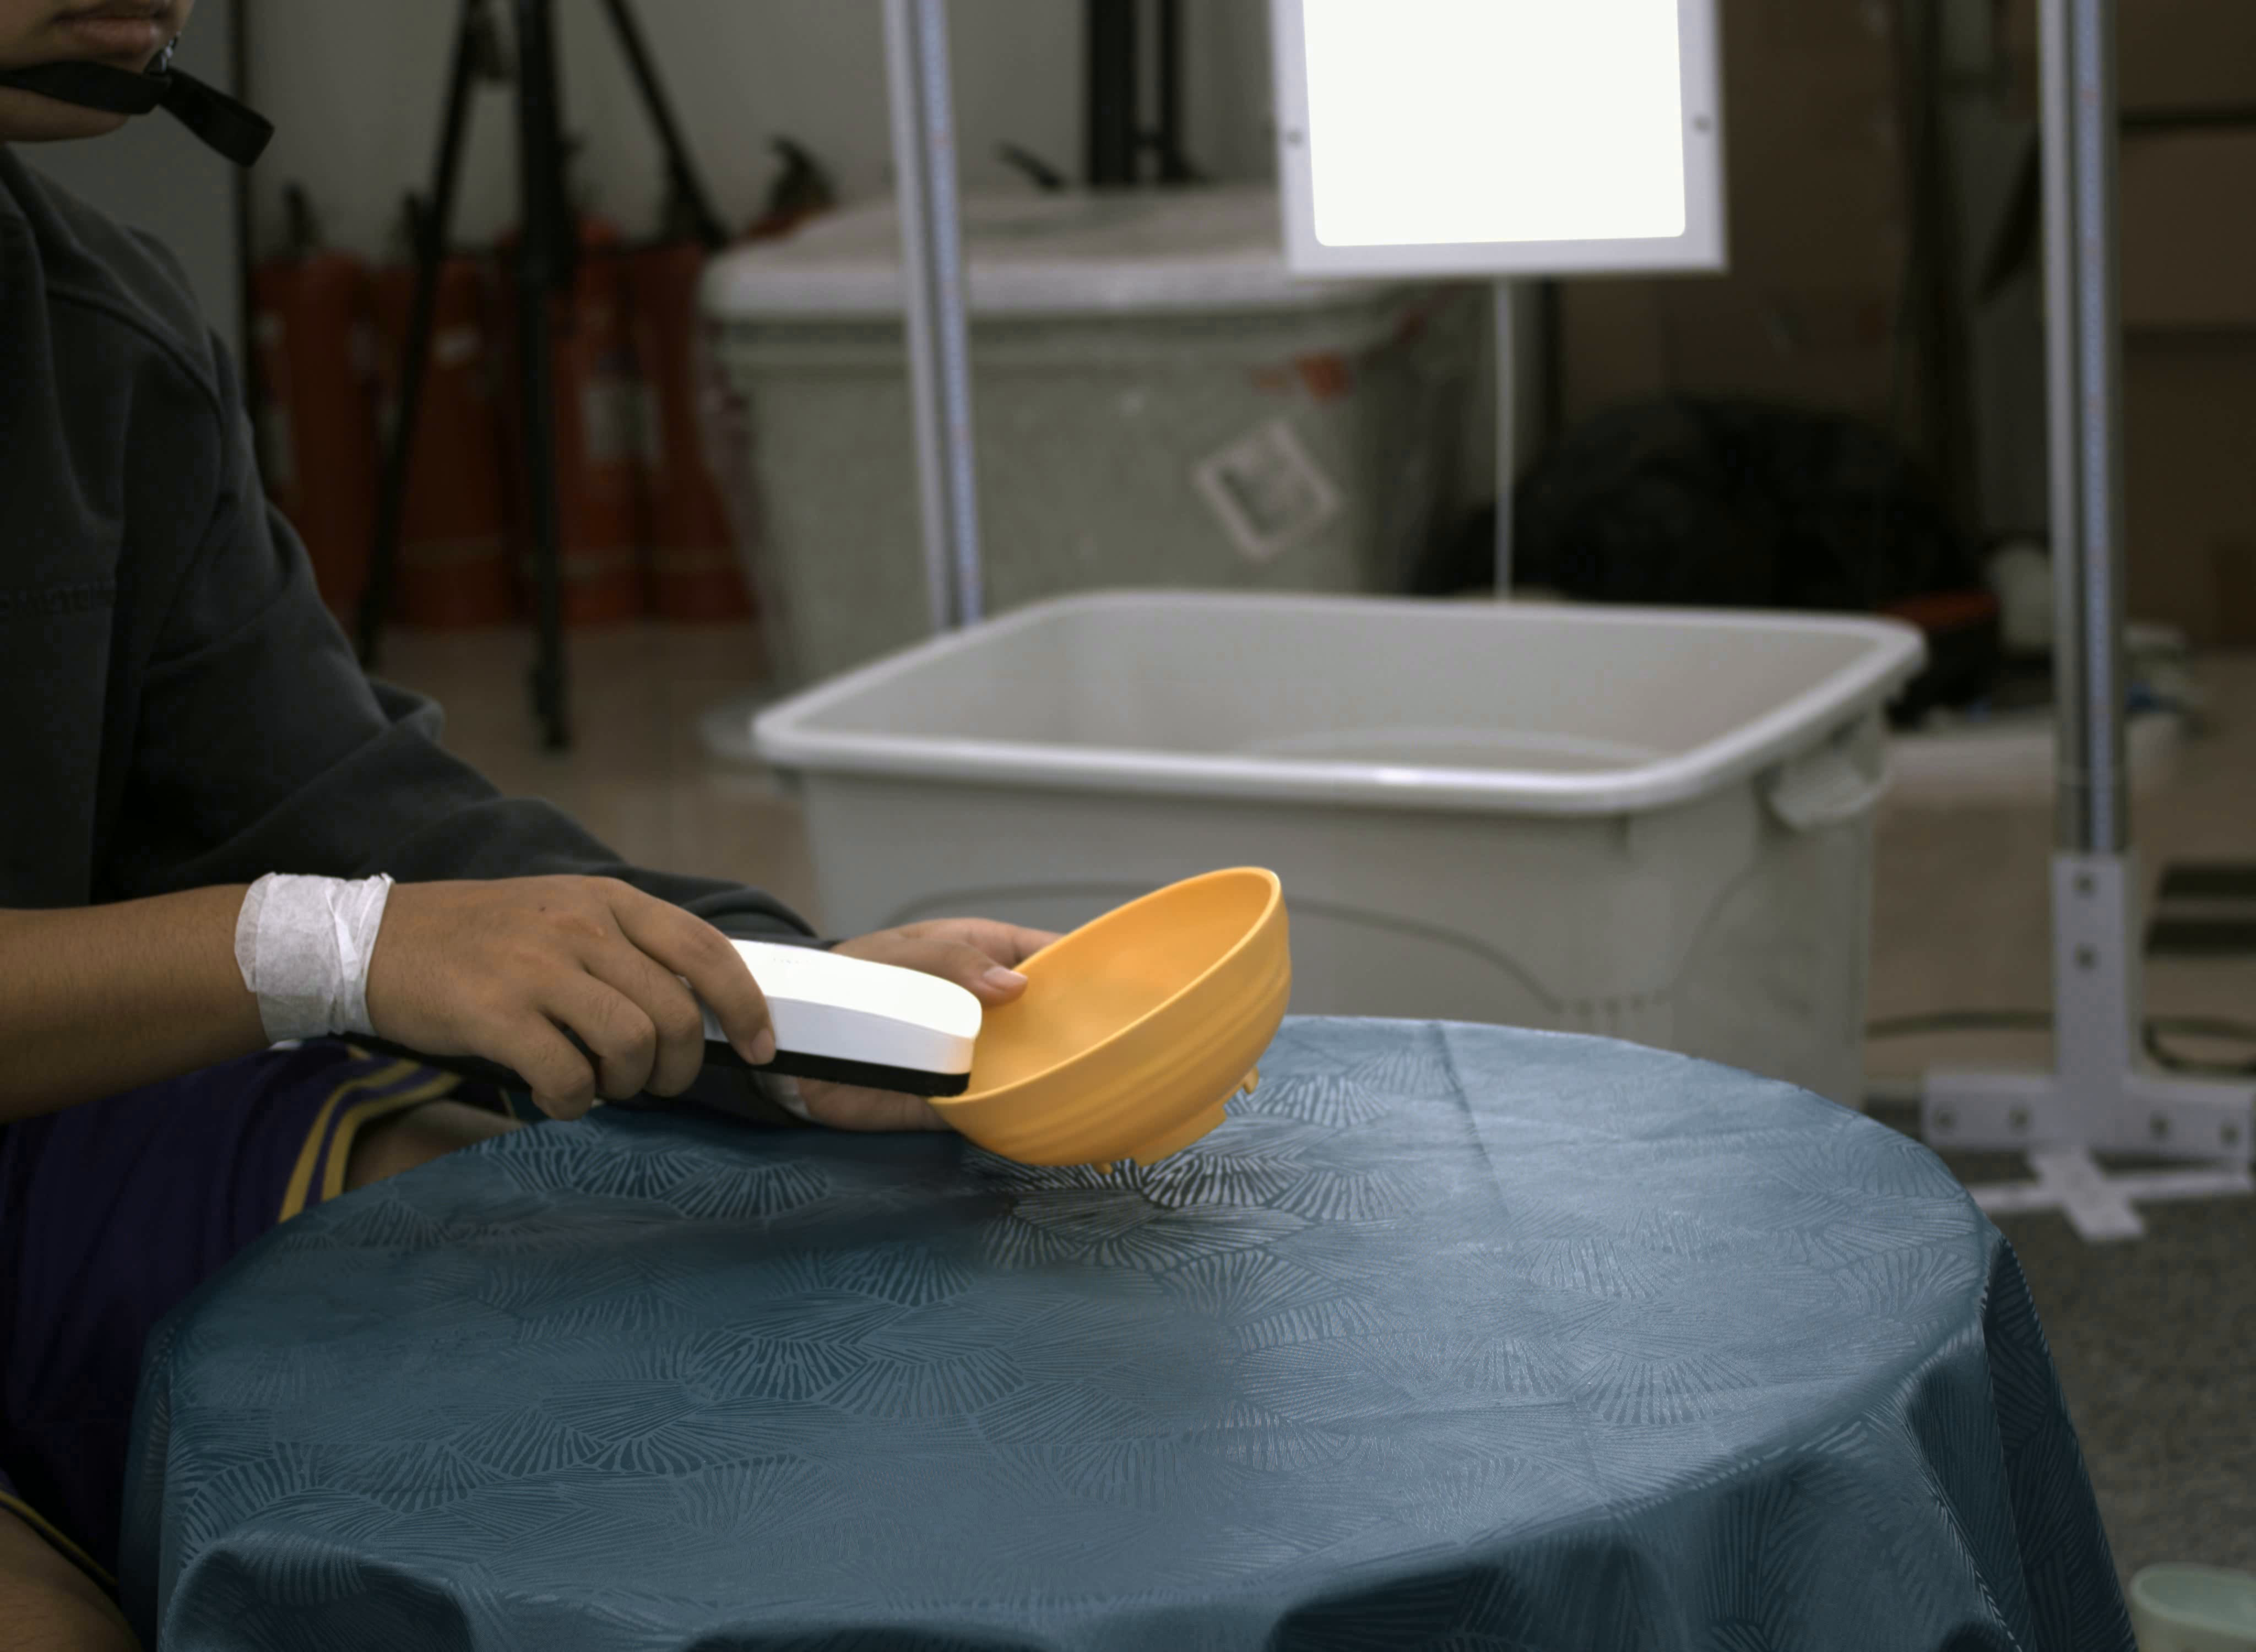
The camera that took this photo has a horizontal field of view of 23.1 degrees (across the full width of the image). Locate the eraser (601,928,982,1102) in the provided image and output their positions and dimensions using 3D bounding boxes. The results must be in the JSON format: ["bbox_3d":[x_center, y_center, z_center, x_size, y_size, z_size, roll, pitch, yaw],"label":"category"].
[{"bbox_3d":[-0.116,0.063,1.882,0.130,0.035,0.063,10,14,-5],"label":"eraser"}]

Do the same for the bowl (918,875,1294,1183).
[{"bbox_3d":[0.004,0.080,1.889,0.146,0.060,0.145,-31,12,6],"label":"bowl"}]
